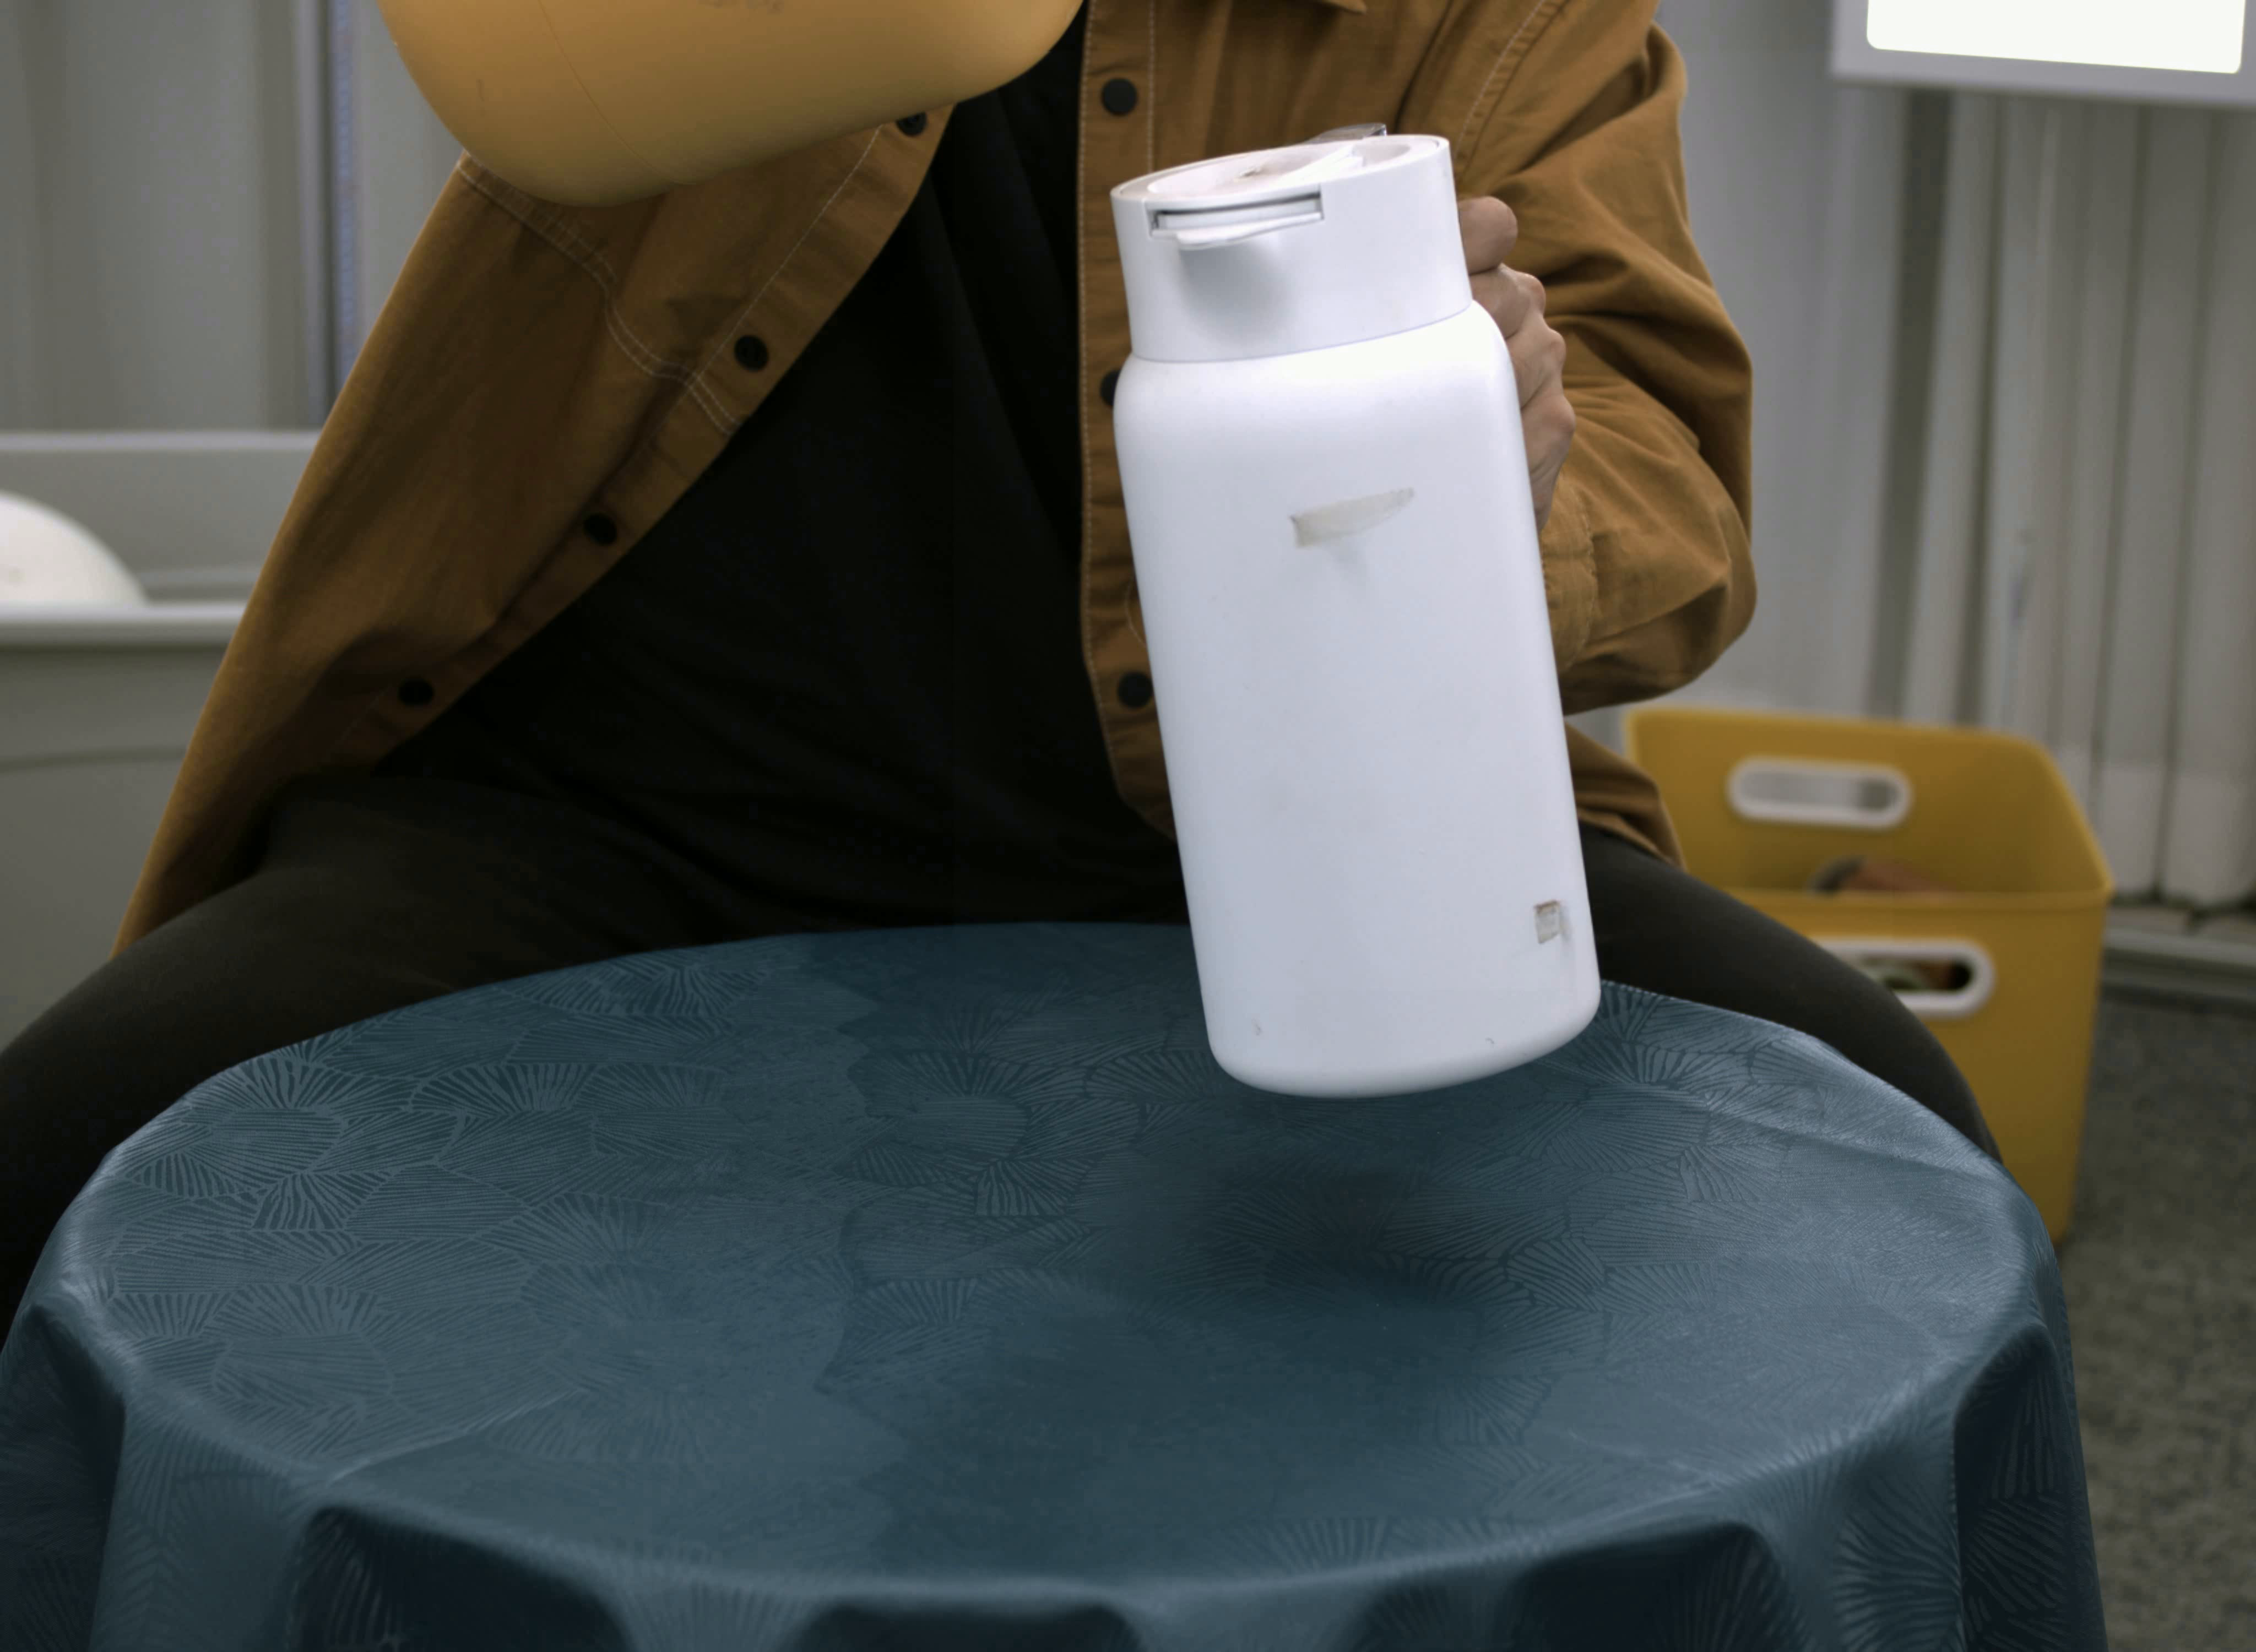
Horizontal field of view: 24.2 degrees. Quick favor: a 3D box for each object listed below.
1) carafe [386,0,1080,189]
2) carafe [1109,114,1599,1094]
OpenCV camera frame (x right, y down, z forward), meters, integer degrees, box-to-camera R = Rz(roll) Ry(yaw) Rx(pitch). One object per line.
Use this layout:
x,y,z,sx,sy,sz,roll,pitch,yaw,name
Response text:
-0.085,-0.302,1.475,0.259,0.204,0.163,-13,17,14,carafe
0.067,-0.068,1.540,0.123,0.271,0.173,-6,14,22,carafe
